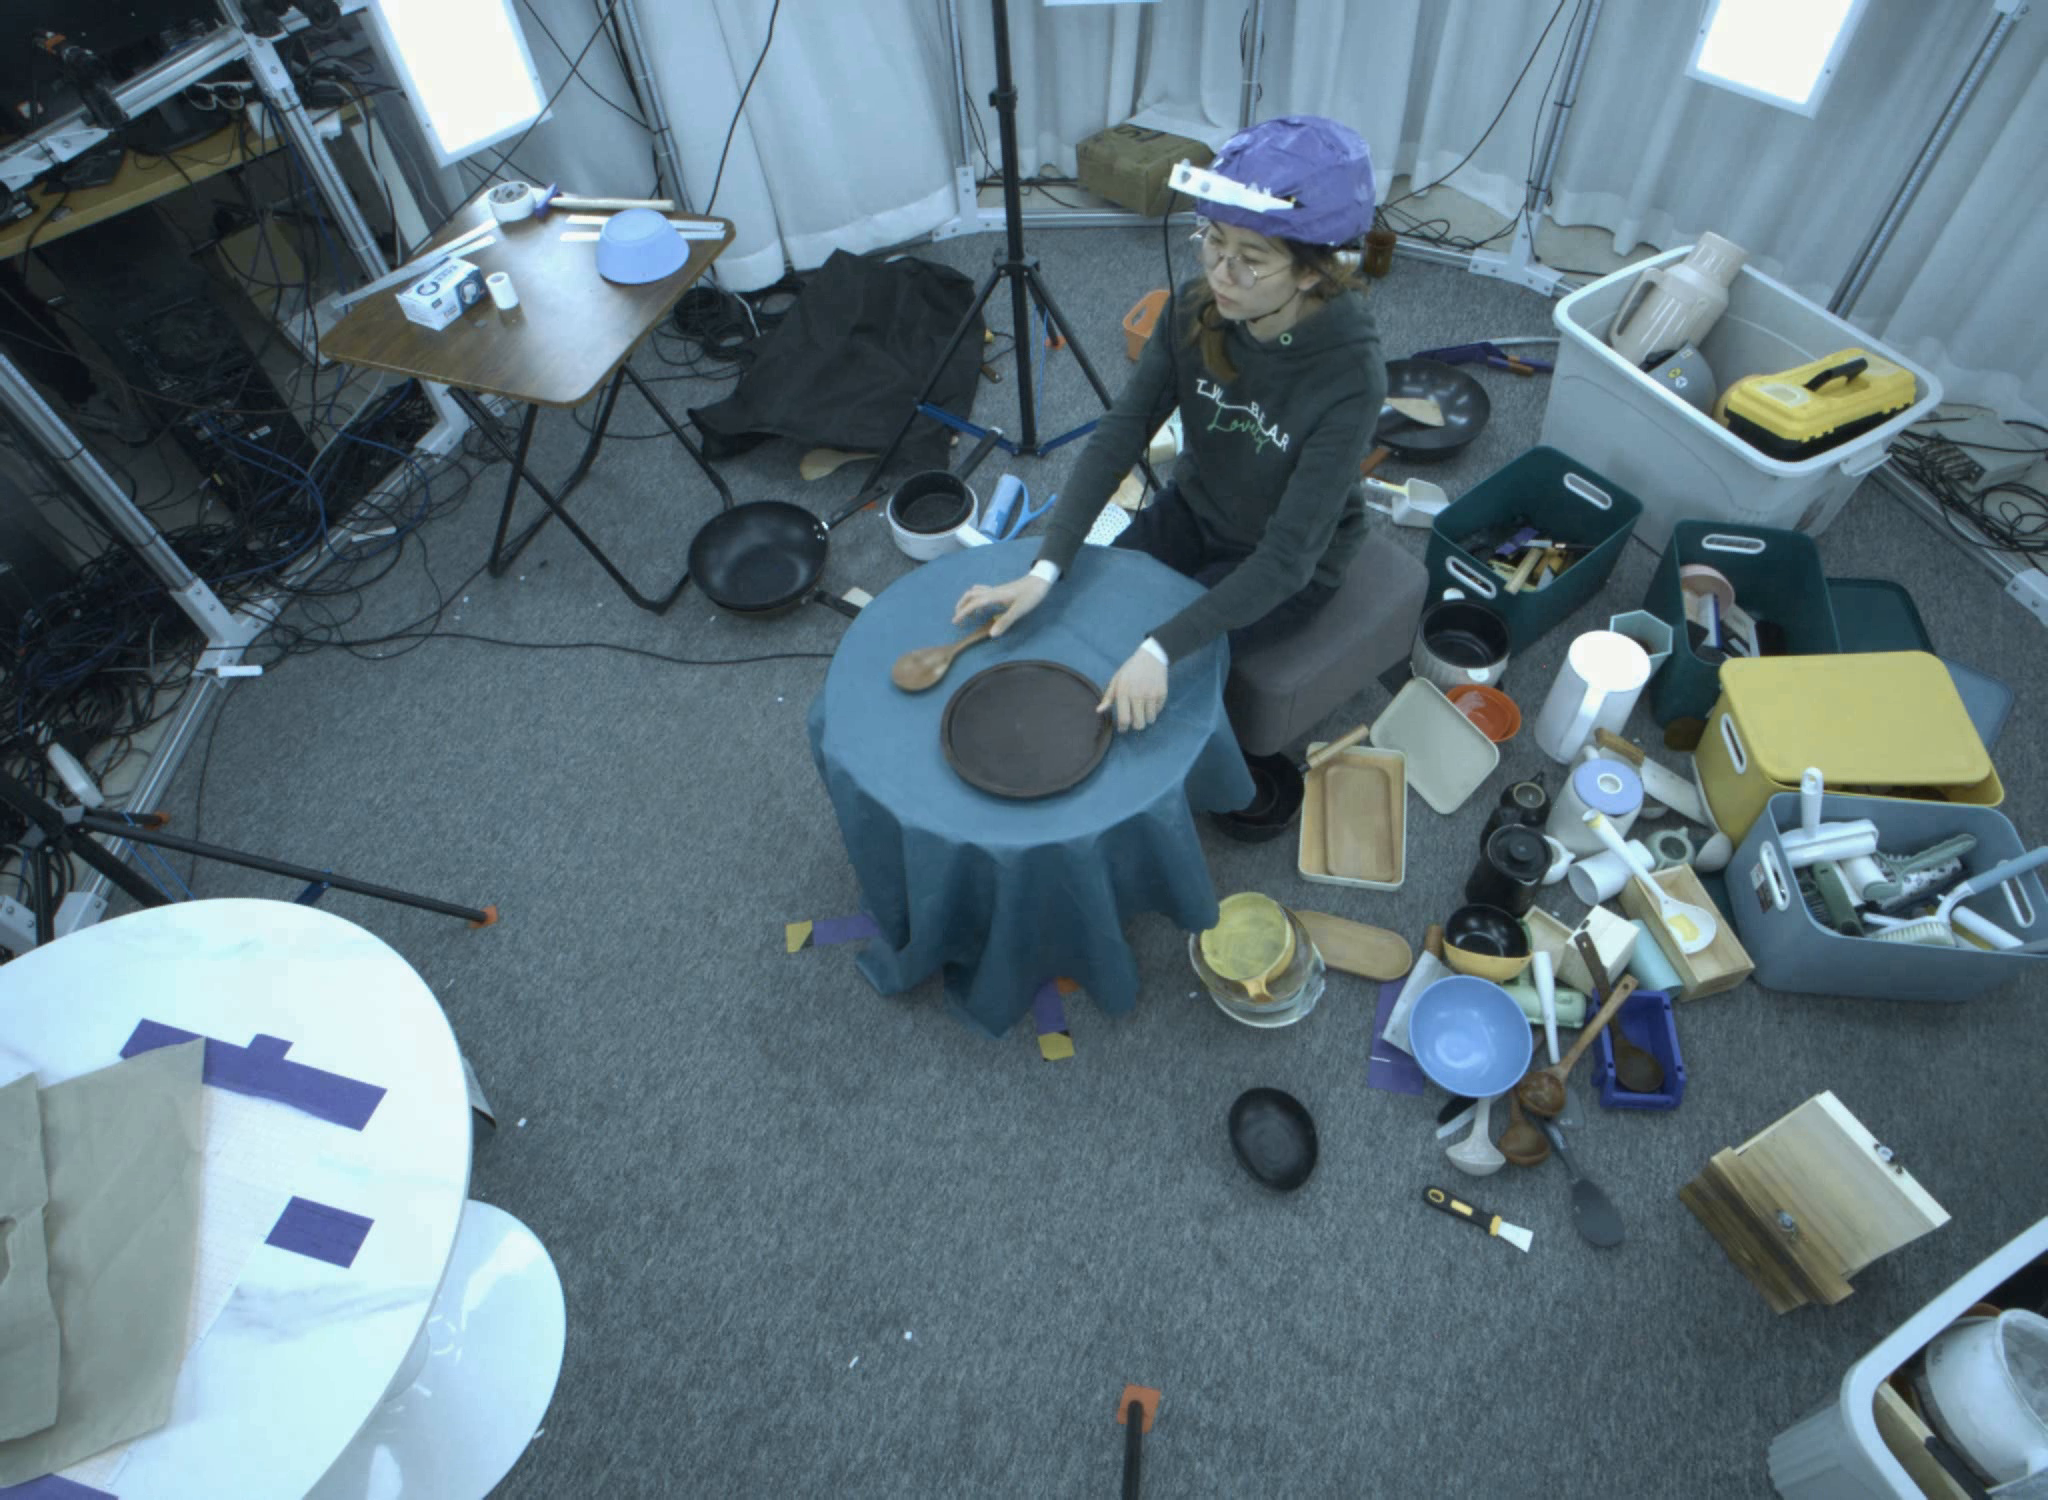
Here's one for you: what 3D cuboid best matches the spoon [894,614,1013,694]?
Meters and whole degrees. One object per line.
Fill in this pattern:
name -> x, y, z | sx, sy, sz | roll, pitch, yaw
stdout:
spoon -> -0.106, -0.150, 1.896 | 0.217, 0.017, 0.074 | -34, 61, -20

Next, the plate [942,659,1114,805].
plate -> 0.006, -0.026, 1.803 | 0.254, 0.029, 0.252 | 0, 56, 2
